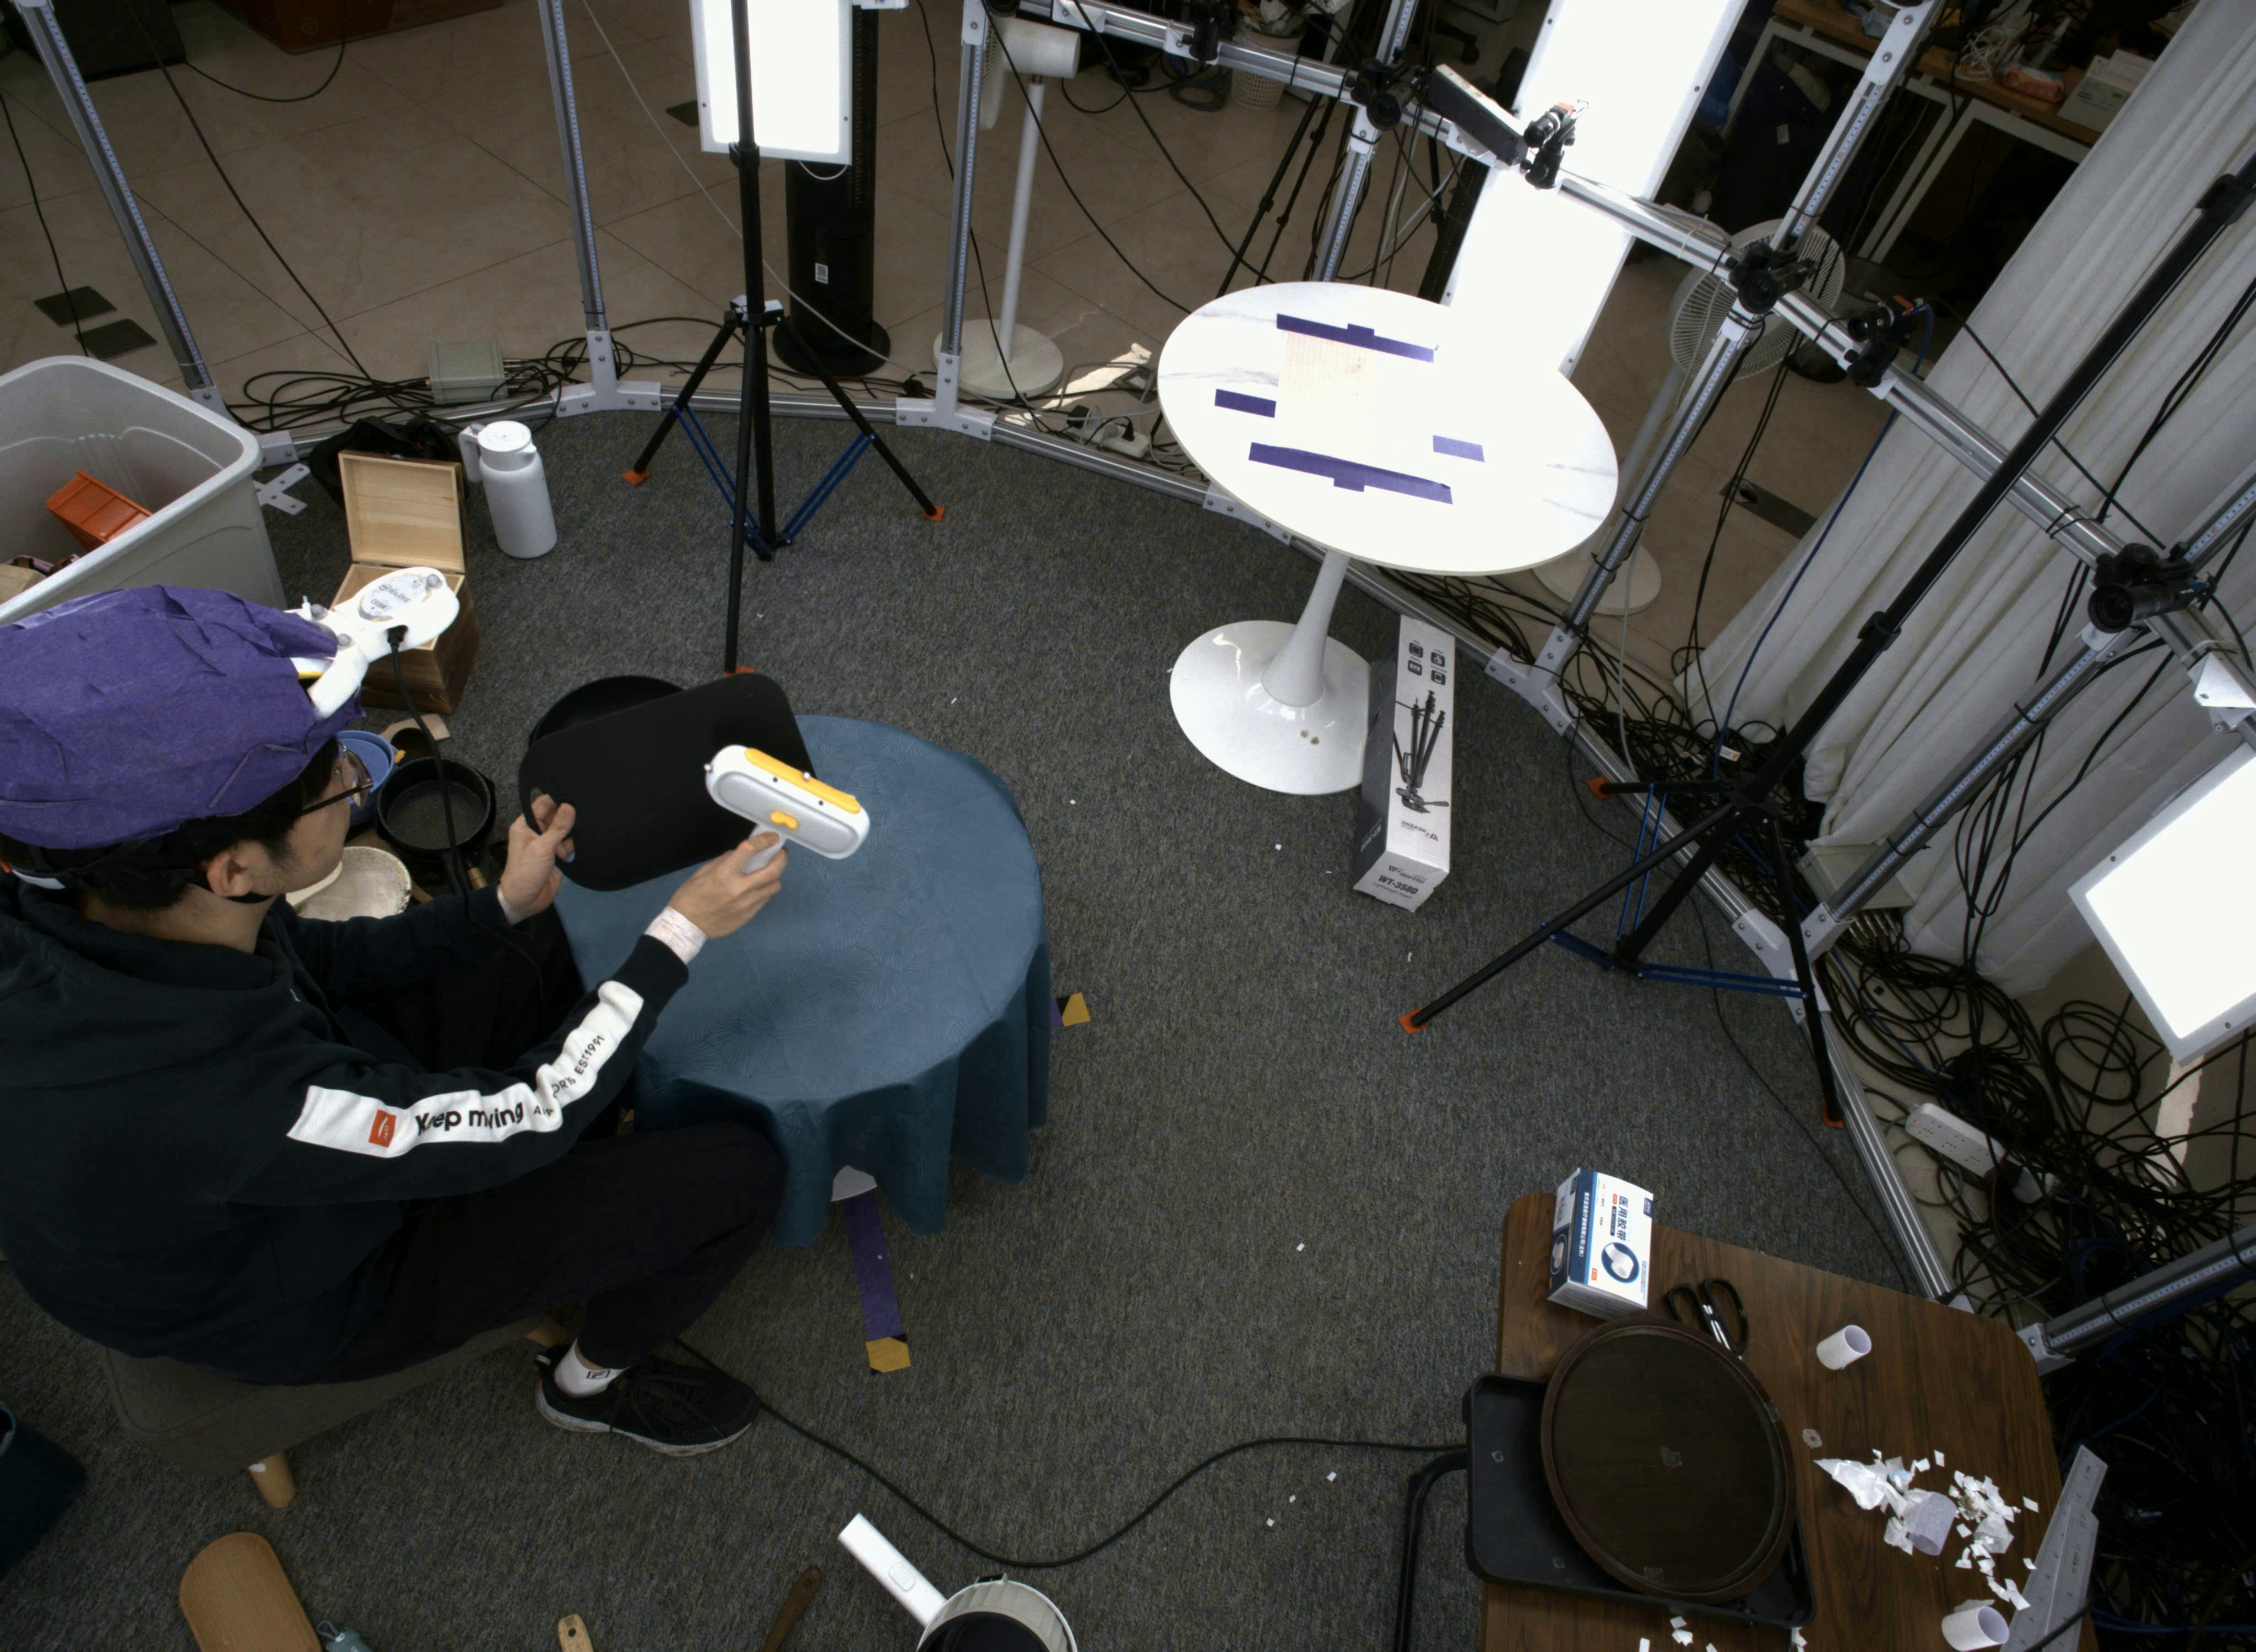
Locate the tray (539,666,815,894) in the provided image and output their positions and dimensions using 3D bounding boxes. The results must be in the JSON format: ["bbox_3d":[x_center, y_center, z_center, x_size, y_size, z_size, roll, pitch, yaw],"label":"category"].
[{"bbox_3d":[-0.531,-0.049,1.480,0.324,0.219,0.009,-20,31,-11],"label":"tray"}]

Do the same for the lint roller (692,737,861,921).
[{"bbox_3d":[-0.422,0.015,1.476,0.197,0.194,0.072,22,22,-28],"label":"lint roller"}]
